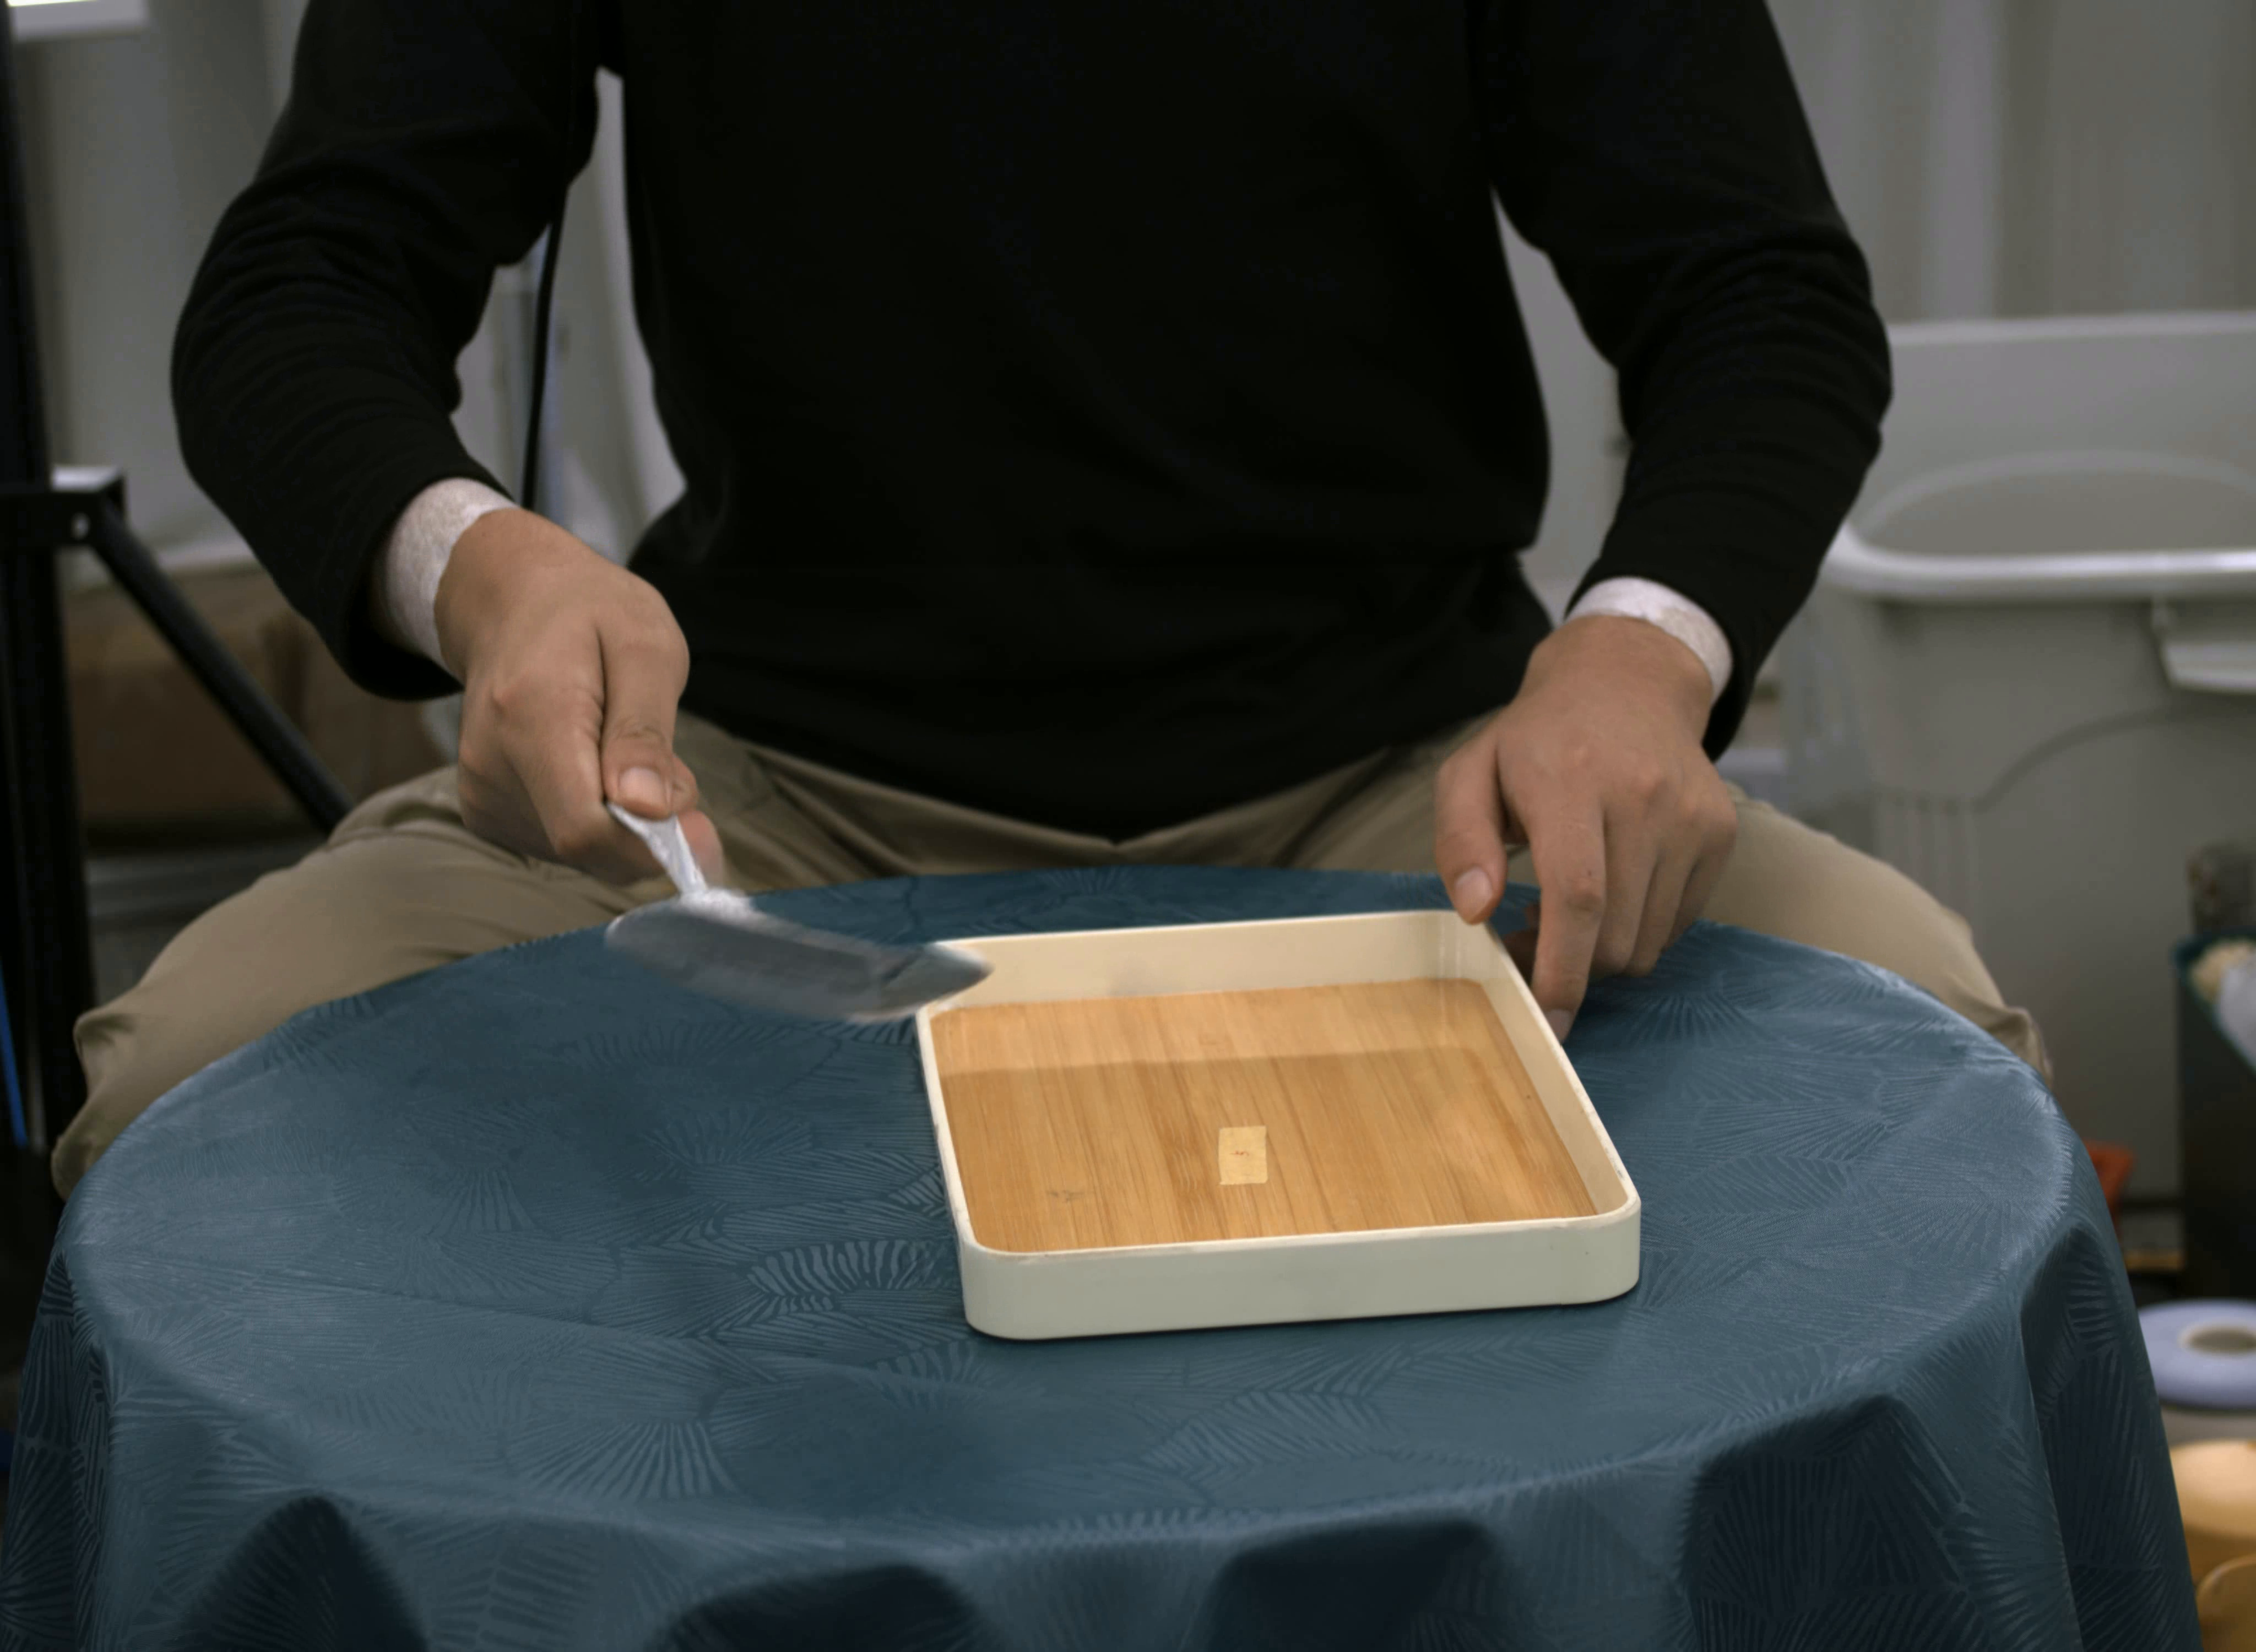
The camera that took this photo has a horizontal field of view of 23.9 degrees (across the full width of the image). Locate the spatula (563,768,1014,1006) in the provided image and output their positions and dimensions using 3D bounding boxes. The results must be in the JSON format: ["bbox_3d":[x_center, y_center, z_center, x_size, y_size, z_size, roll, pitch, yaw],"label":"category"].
[{"bbox_3d":[-0.123,0.006,1.536,0.097,0.045,0.370,12,8,-18],"label":"spatula"}]

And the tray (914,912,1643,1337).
[{"bbox_3d":[0.037,0.085,1.584,0.190,0.027,0.302,-4,16,-3],"label":"tray"}]
